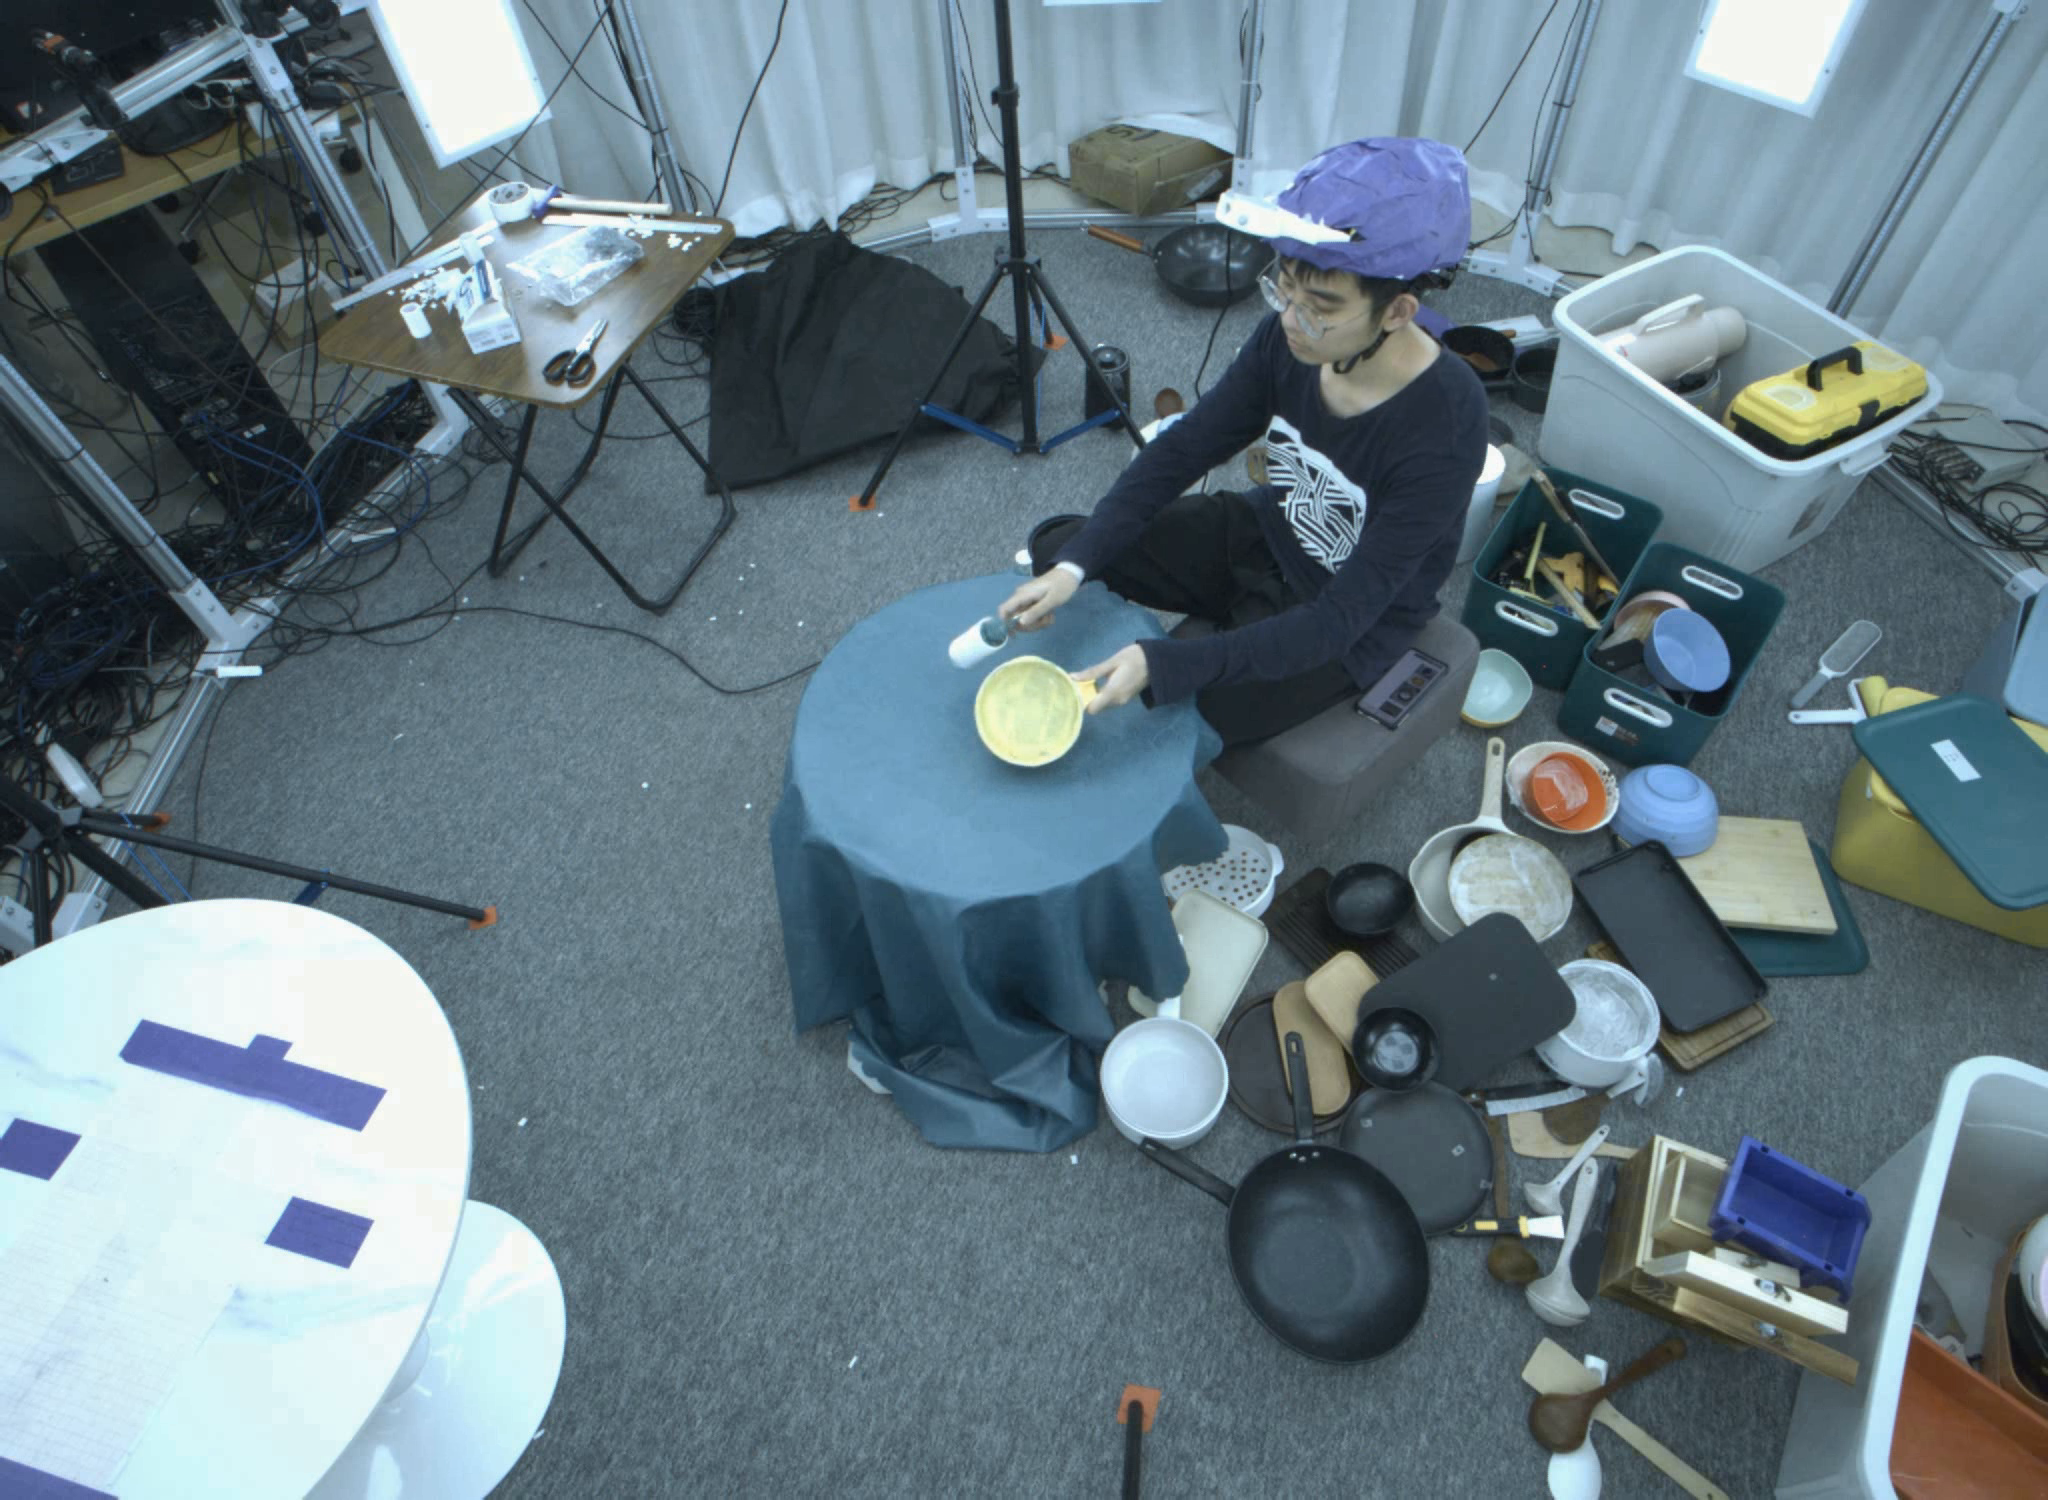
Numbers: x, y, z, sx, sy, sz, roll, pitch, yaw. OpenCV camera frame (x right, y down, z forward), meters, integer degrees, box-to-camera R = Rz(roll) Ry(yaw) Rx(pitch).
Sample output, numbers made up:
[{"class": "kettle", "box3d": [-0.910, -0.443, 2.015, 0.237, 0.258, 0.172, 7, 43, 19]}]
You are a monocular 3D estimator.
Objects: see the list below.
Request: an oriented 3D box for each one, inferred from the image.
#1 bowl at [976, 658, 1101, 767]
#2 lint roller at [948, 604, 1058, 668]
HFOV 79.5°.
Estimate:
[{"class": "bowl", "box3d": [0.023, -0.061, 1.755, 0.179, 0.074, 0.153, -25, 96, 5]}, {"class": "lint roller", "box3d": [-0.024, -0.190, 1.814, 0.182, 0.132, 0.048, -37, 96, -32]}]
